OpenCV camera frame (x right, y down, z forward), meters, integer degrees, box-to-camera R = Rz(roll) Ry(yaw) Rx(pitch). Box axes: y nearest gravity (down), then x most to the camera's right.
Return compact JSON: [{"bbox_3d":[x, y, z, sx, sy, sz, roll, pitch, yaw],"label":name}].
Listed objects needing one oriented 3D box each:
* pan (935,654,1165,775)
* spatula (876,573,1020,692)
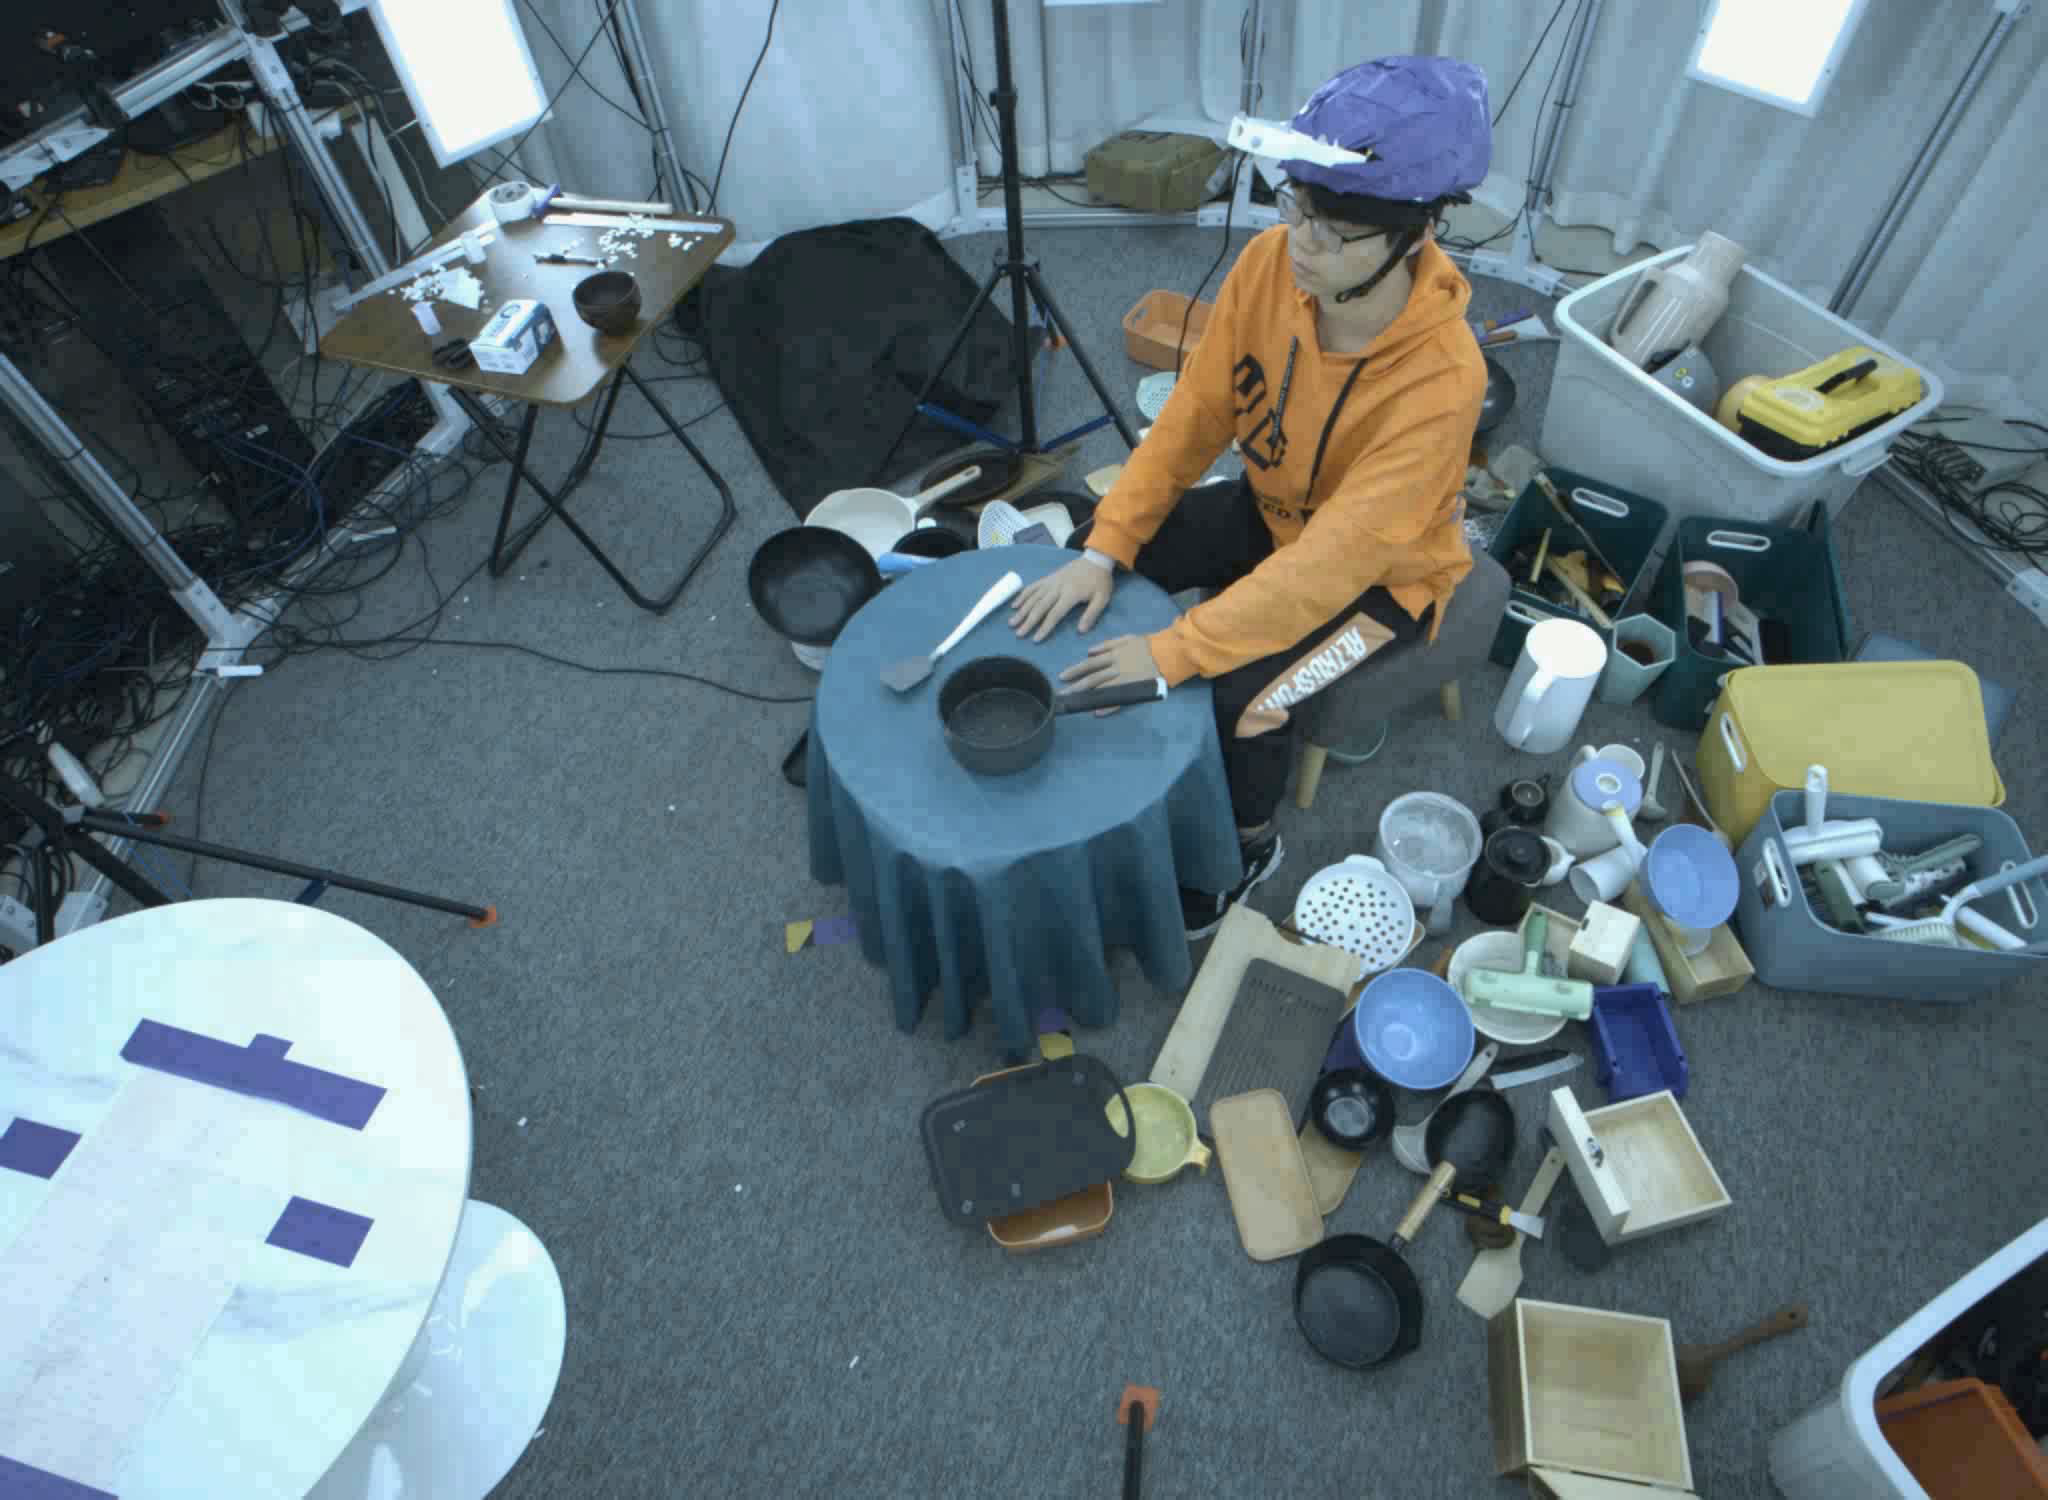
[{"bbox_3d":[0.040,-0.055,1.772,0.328,0.087,0.170,-2,55,3],"label":"pan"},{"bbox_3d":[-0.112,-0.180,1.899,0.058,0.032,0.289,36,63,20],"label":"spatula"}]
